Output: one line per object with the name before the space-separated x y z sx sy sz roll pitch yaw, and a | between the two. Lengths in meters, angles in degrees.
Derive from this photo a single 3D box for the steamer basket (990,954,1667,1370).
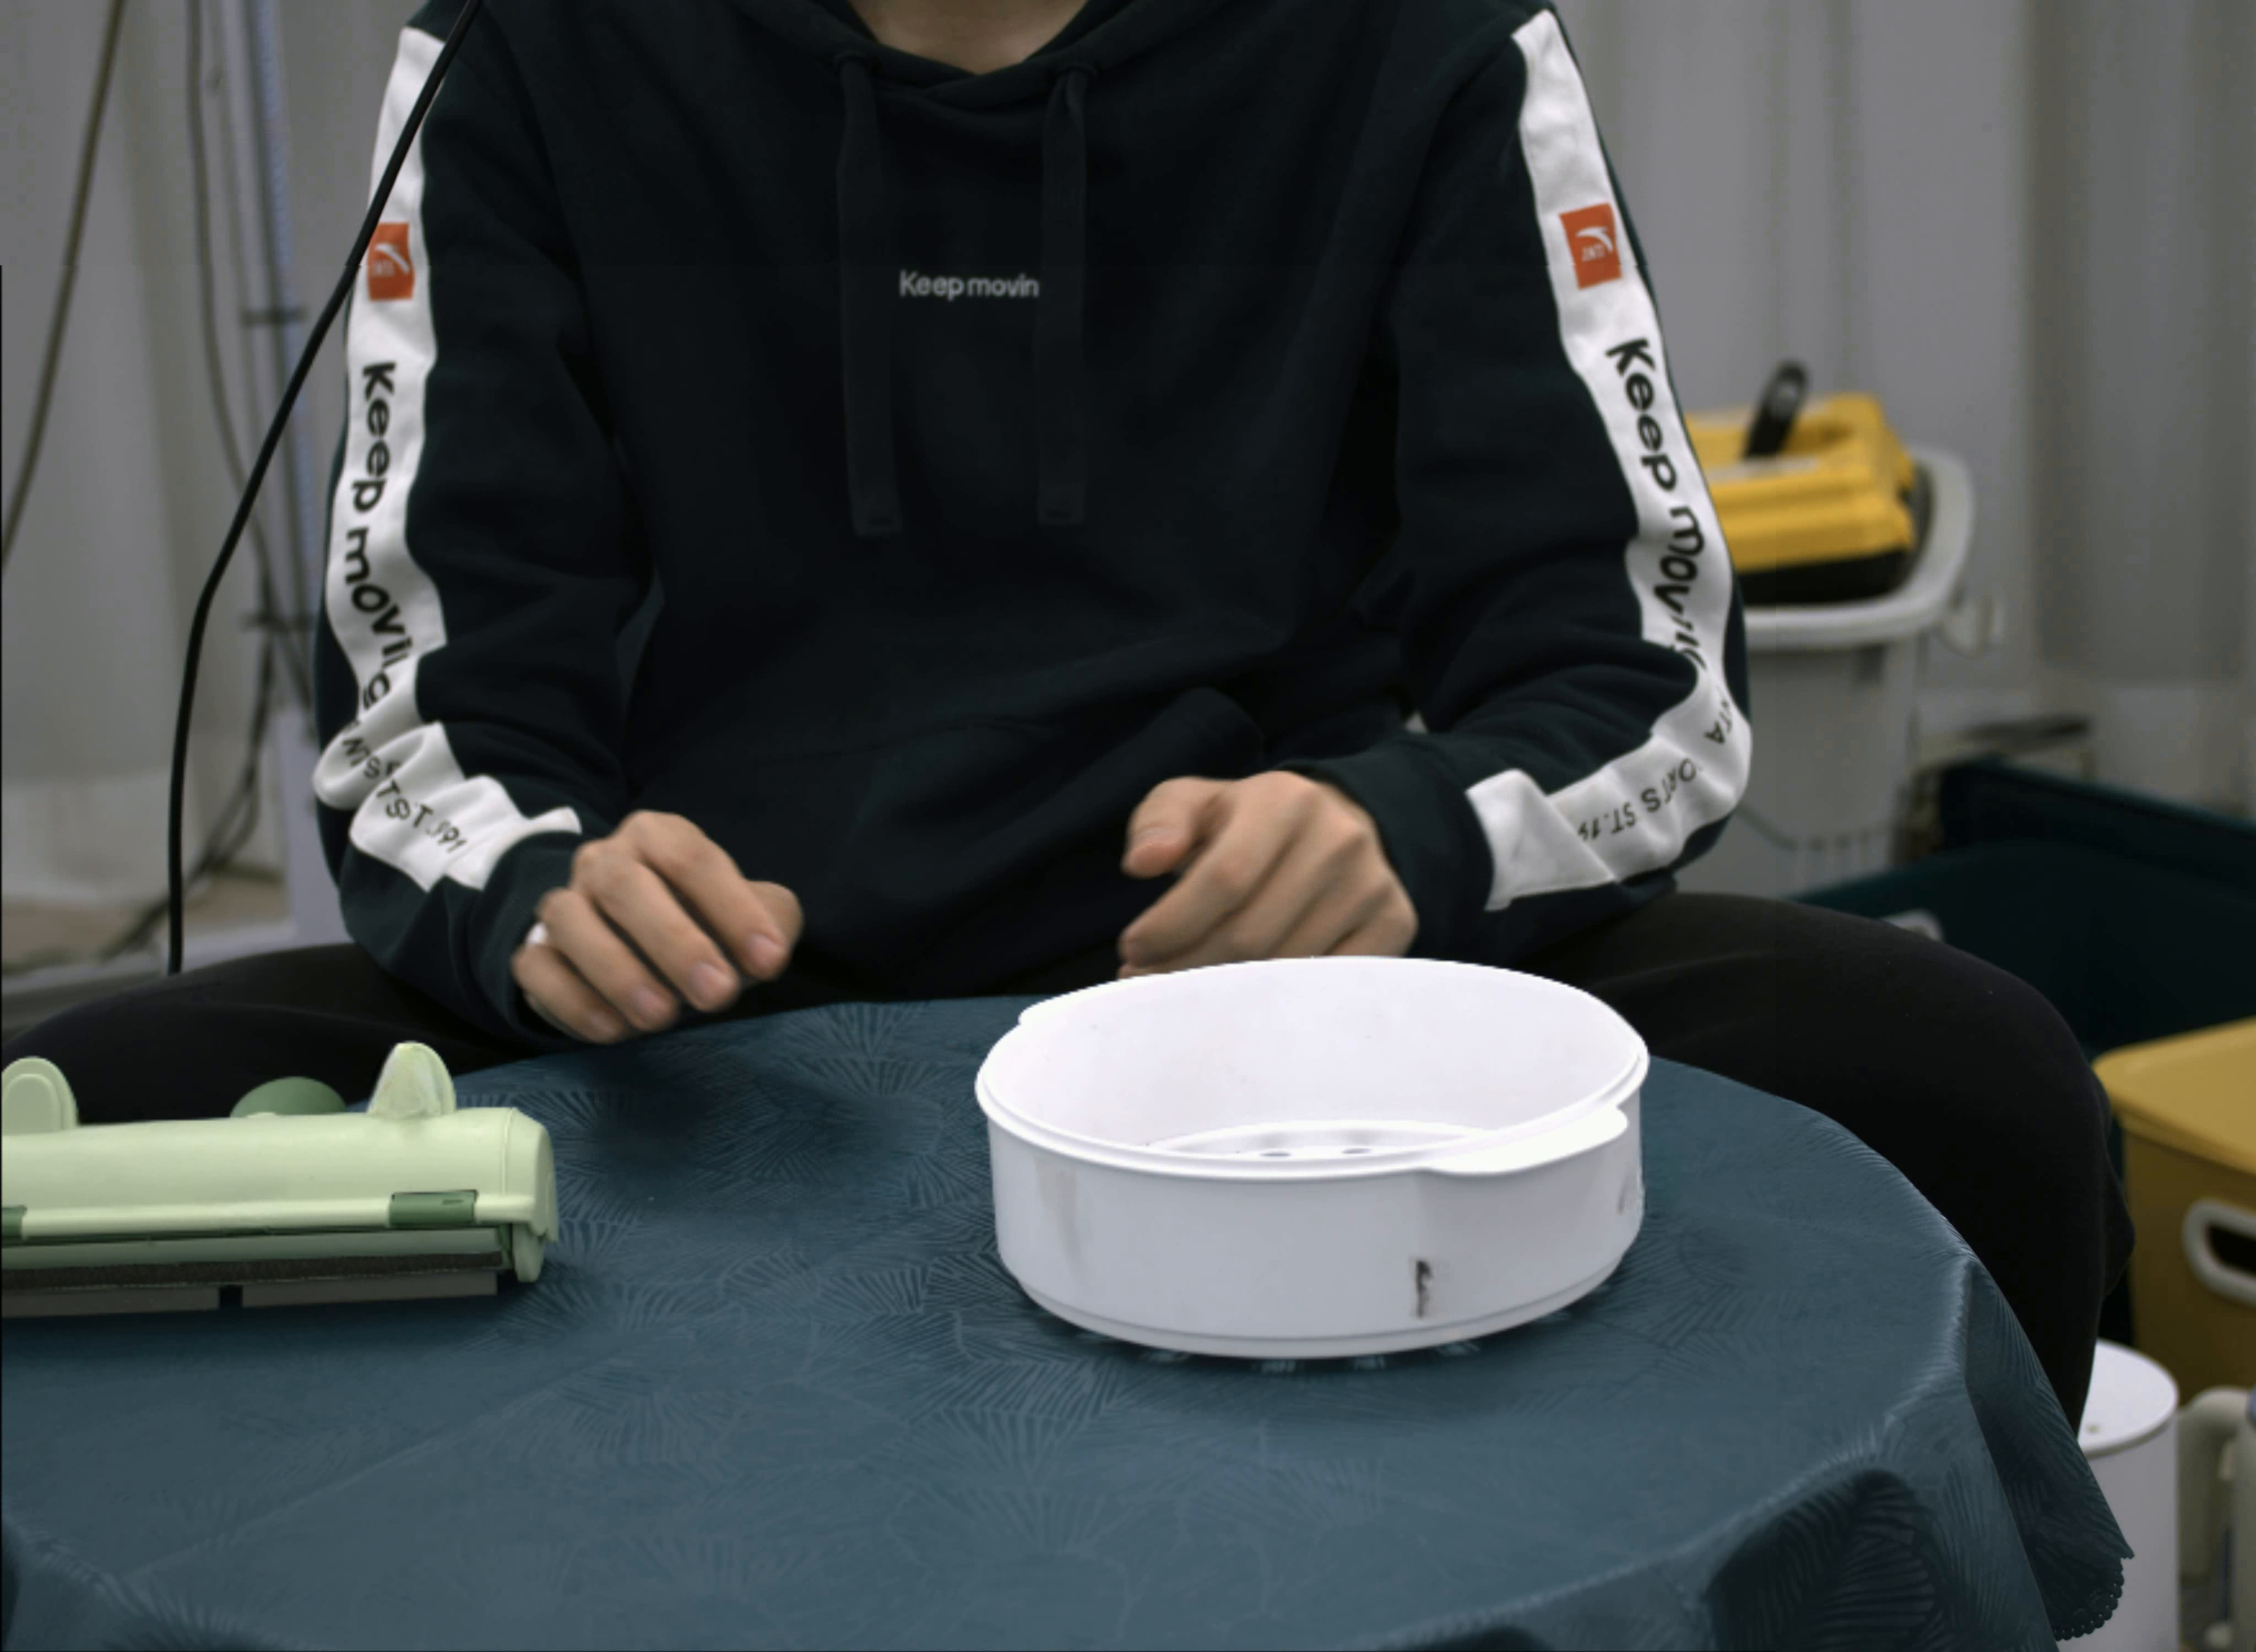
steamer basket | 0.060 0.100 1.626 0.201 0.069 0.232 -15 20 -35

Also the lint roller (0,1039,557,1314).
lint roller | -0.272 0.091 1.708 0.198 0.082 0.185 -3 19 2
